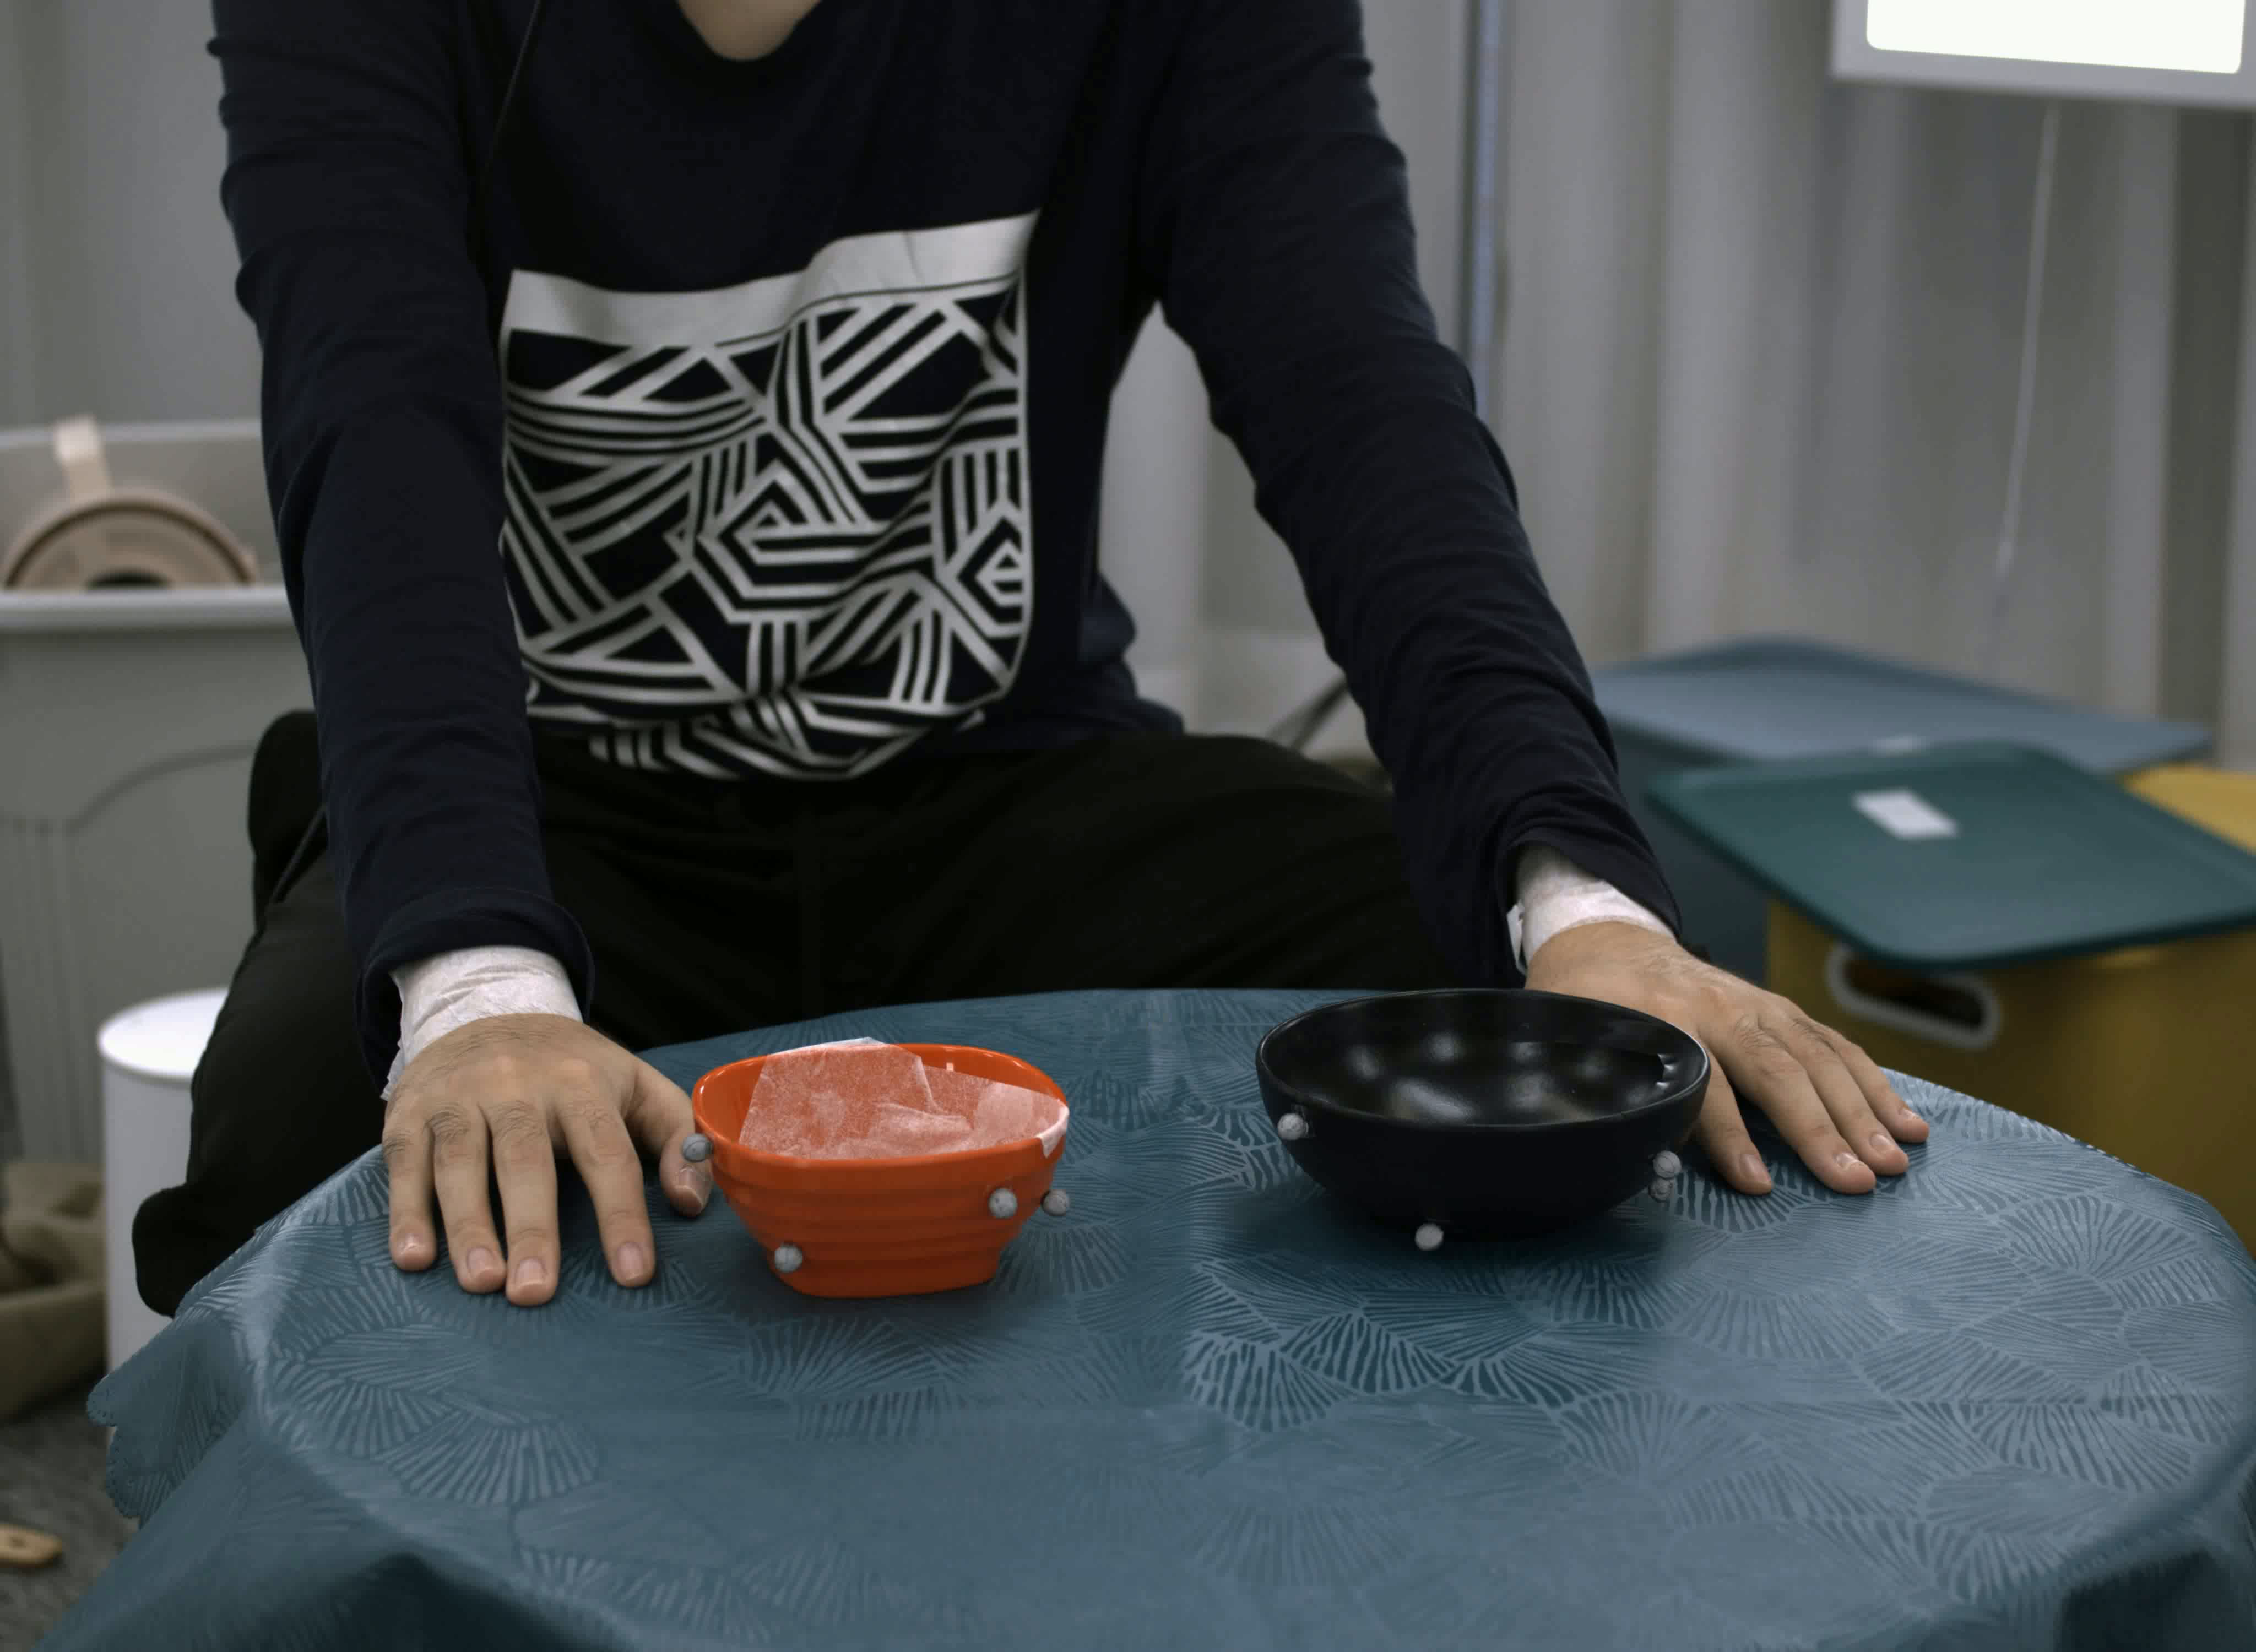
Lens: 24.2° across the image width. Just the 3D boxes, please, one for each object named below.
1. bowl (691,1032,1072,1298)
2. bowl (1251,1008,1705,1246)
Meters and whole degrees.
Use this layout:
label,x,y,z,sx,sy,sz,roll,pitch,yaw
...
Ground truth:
label,x,y,z,sx,sy,sz,roll,pitch,yaw
bowl,-0.073,0.103,1.557,0.118,0.052,0.118,0,18,1
bowl,0.107,0.095,1.609,0.139,0.050,0.139,0,11,1
